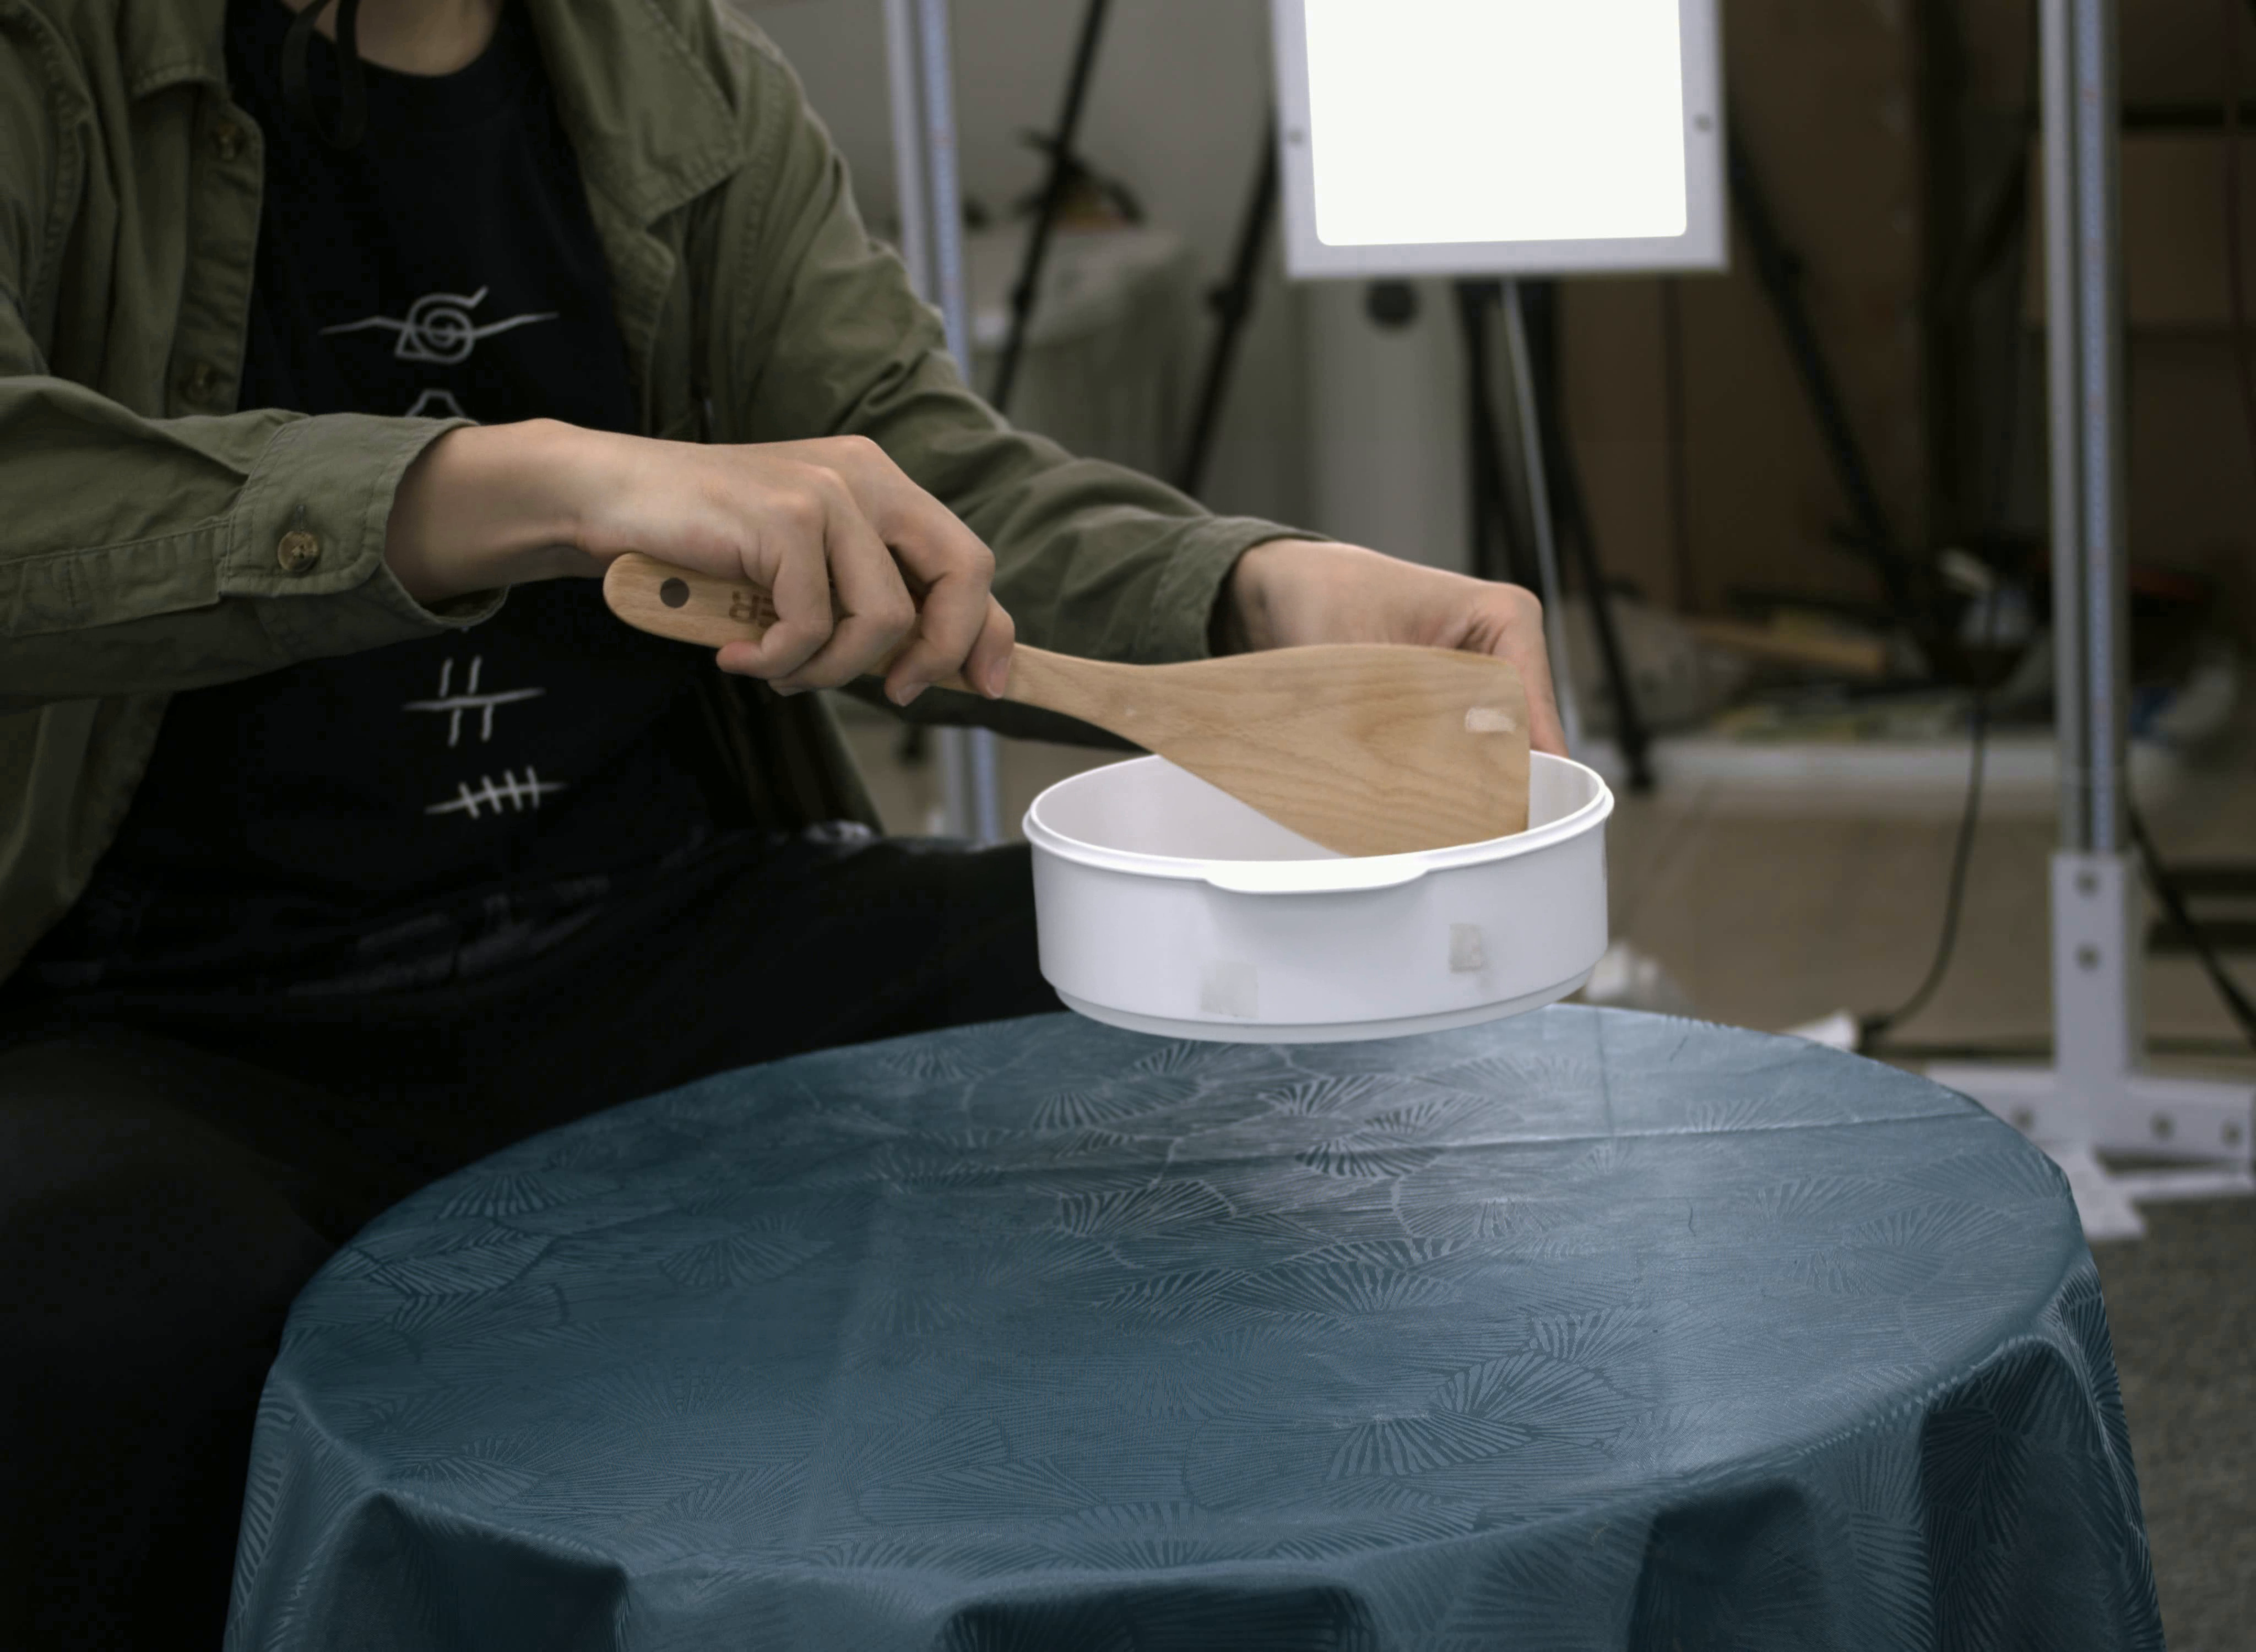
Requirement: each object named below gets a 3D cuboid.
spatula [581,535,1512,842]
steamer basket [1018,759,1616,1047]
[{"bbox_3d":[-0.022,-0.054,1.822,0.323,0.080,0.017,12,-2,-14],"label":"spatula"},{"bbox_3d":[0.065,0.025,1.853,0.202,0.069,0.229,-2,11,4],"label":"steamer basket"}]
